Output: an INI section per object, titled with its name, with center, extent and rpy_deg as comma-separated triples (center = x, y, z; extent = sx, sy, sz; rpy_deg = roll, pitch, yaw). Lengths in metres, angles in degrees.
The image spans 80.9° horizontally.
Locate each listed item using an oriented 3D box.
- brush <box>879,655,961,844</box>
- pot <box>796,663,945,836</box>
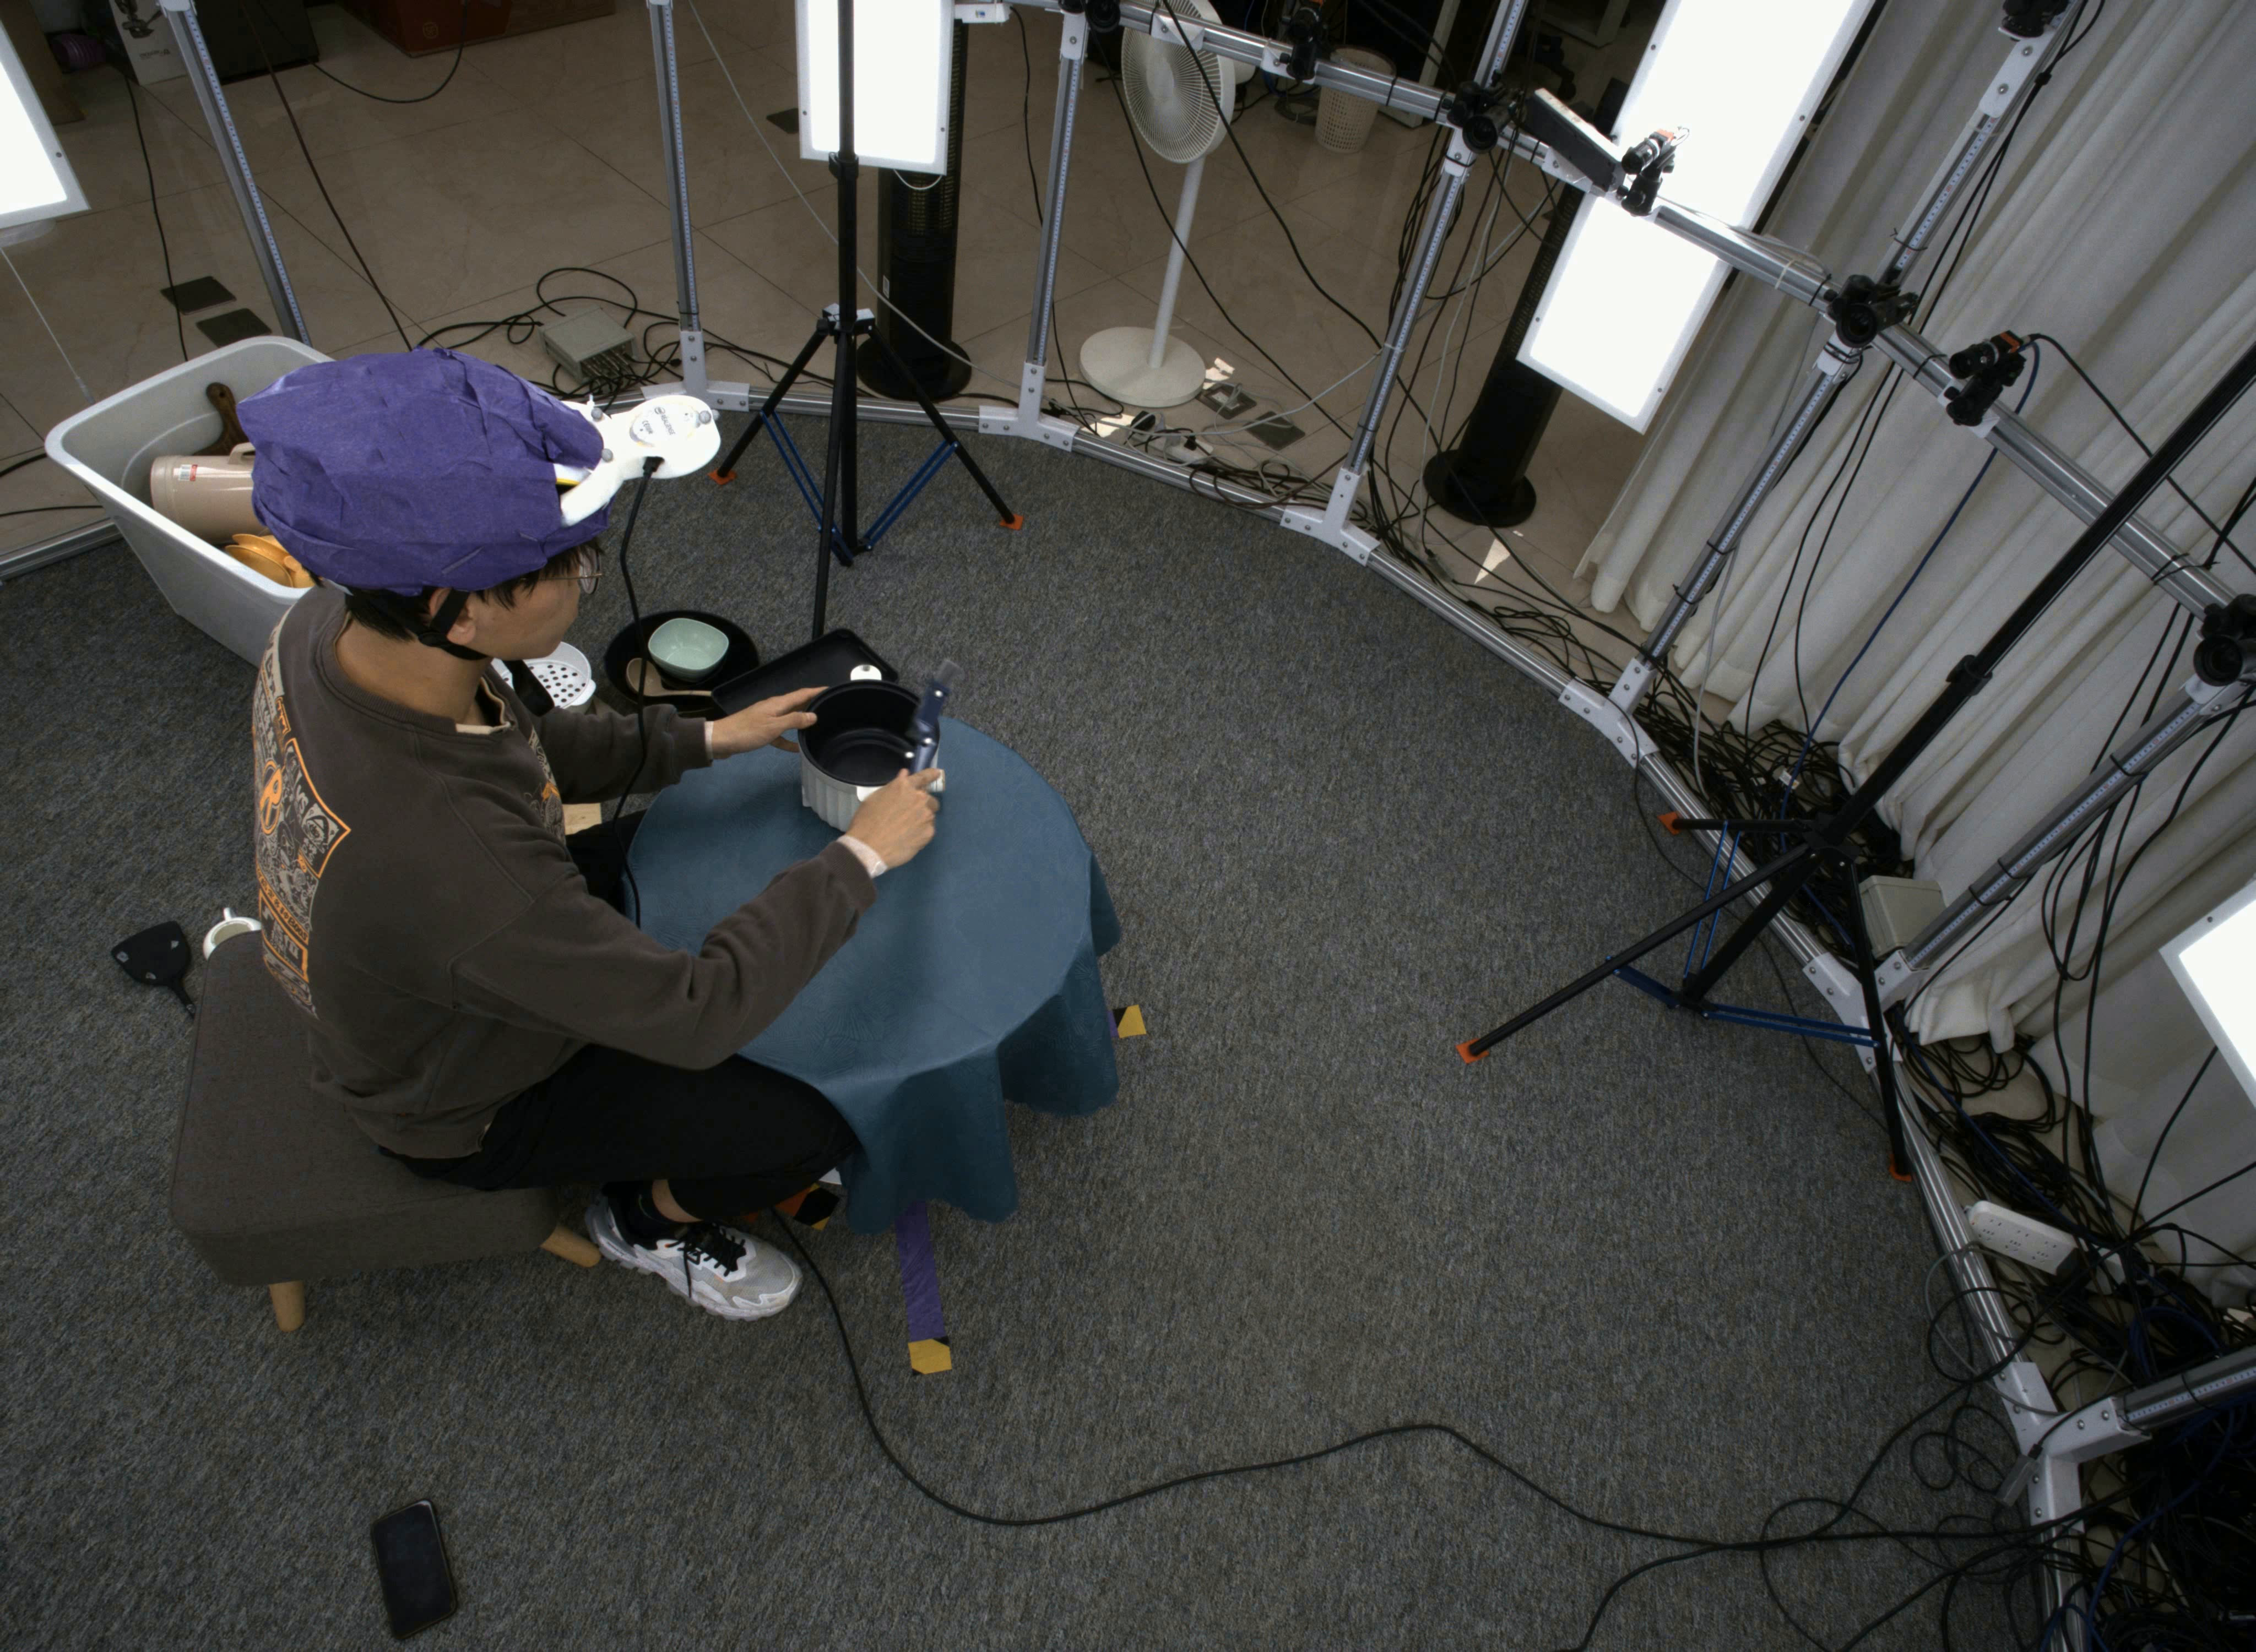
[brush]
center = -0.254, -0.097, 1.584
extent = 0.034, 0.095, 0.267
rpy_deg = 32, 37, -28
[pot]
center = -0.340, -0.086, 1.732
extent = 0.190, 0.146, 0.235
rpy_deg = -5, 56, -12
